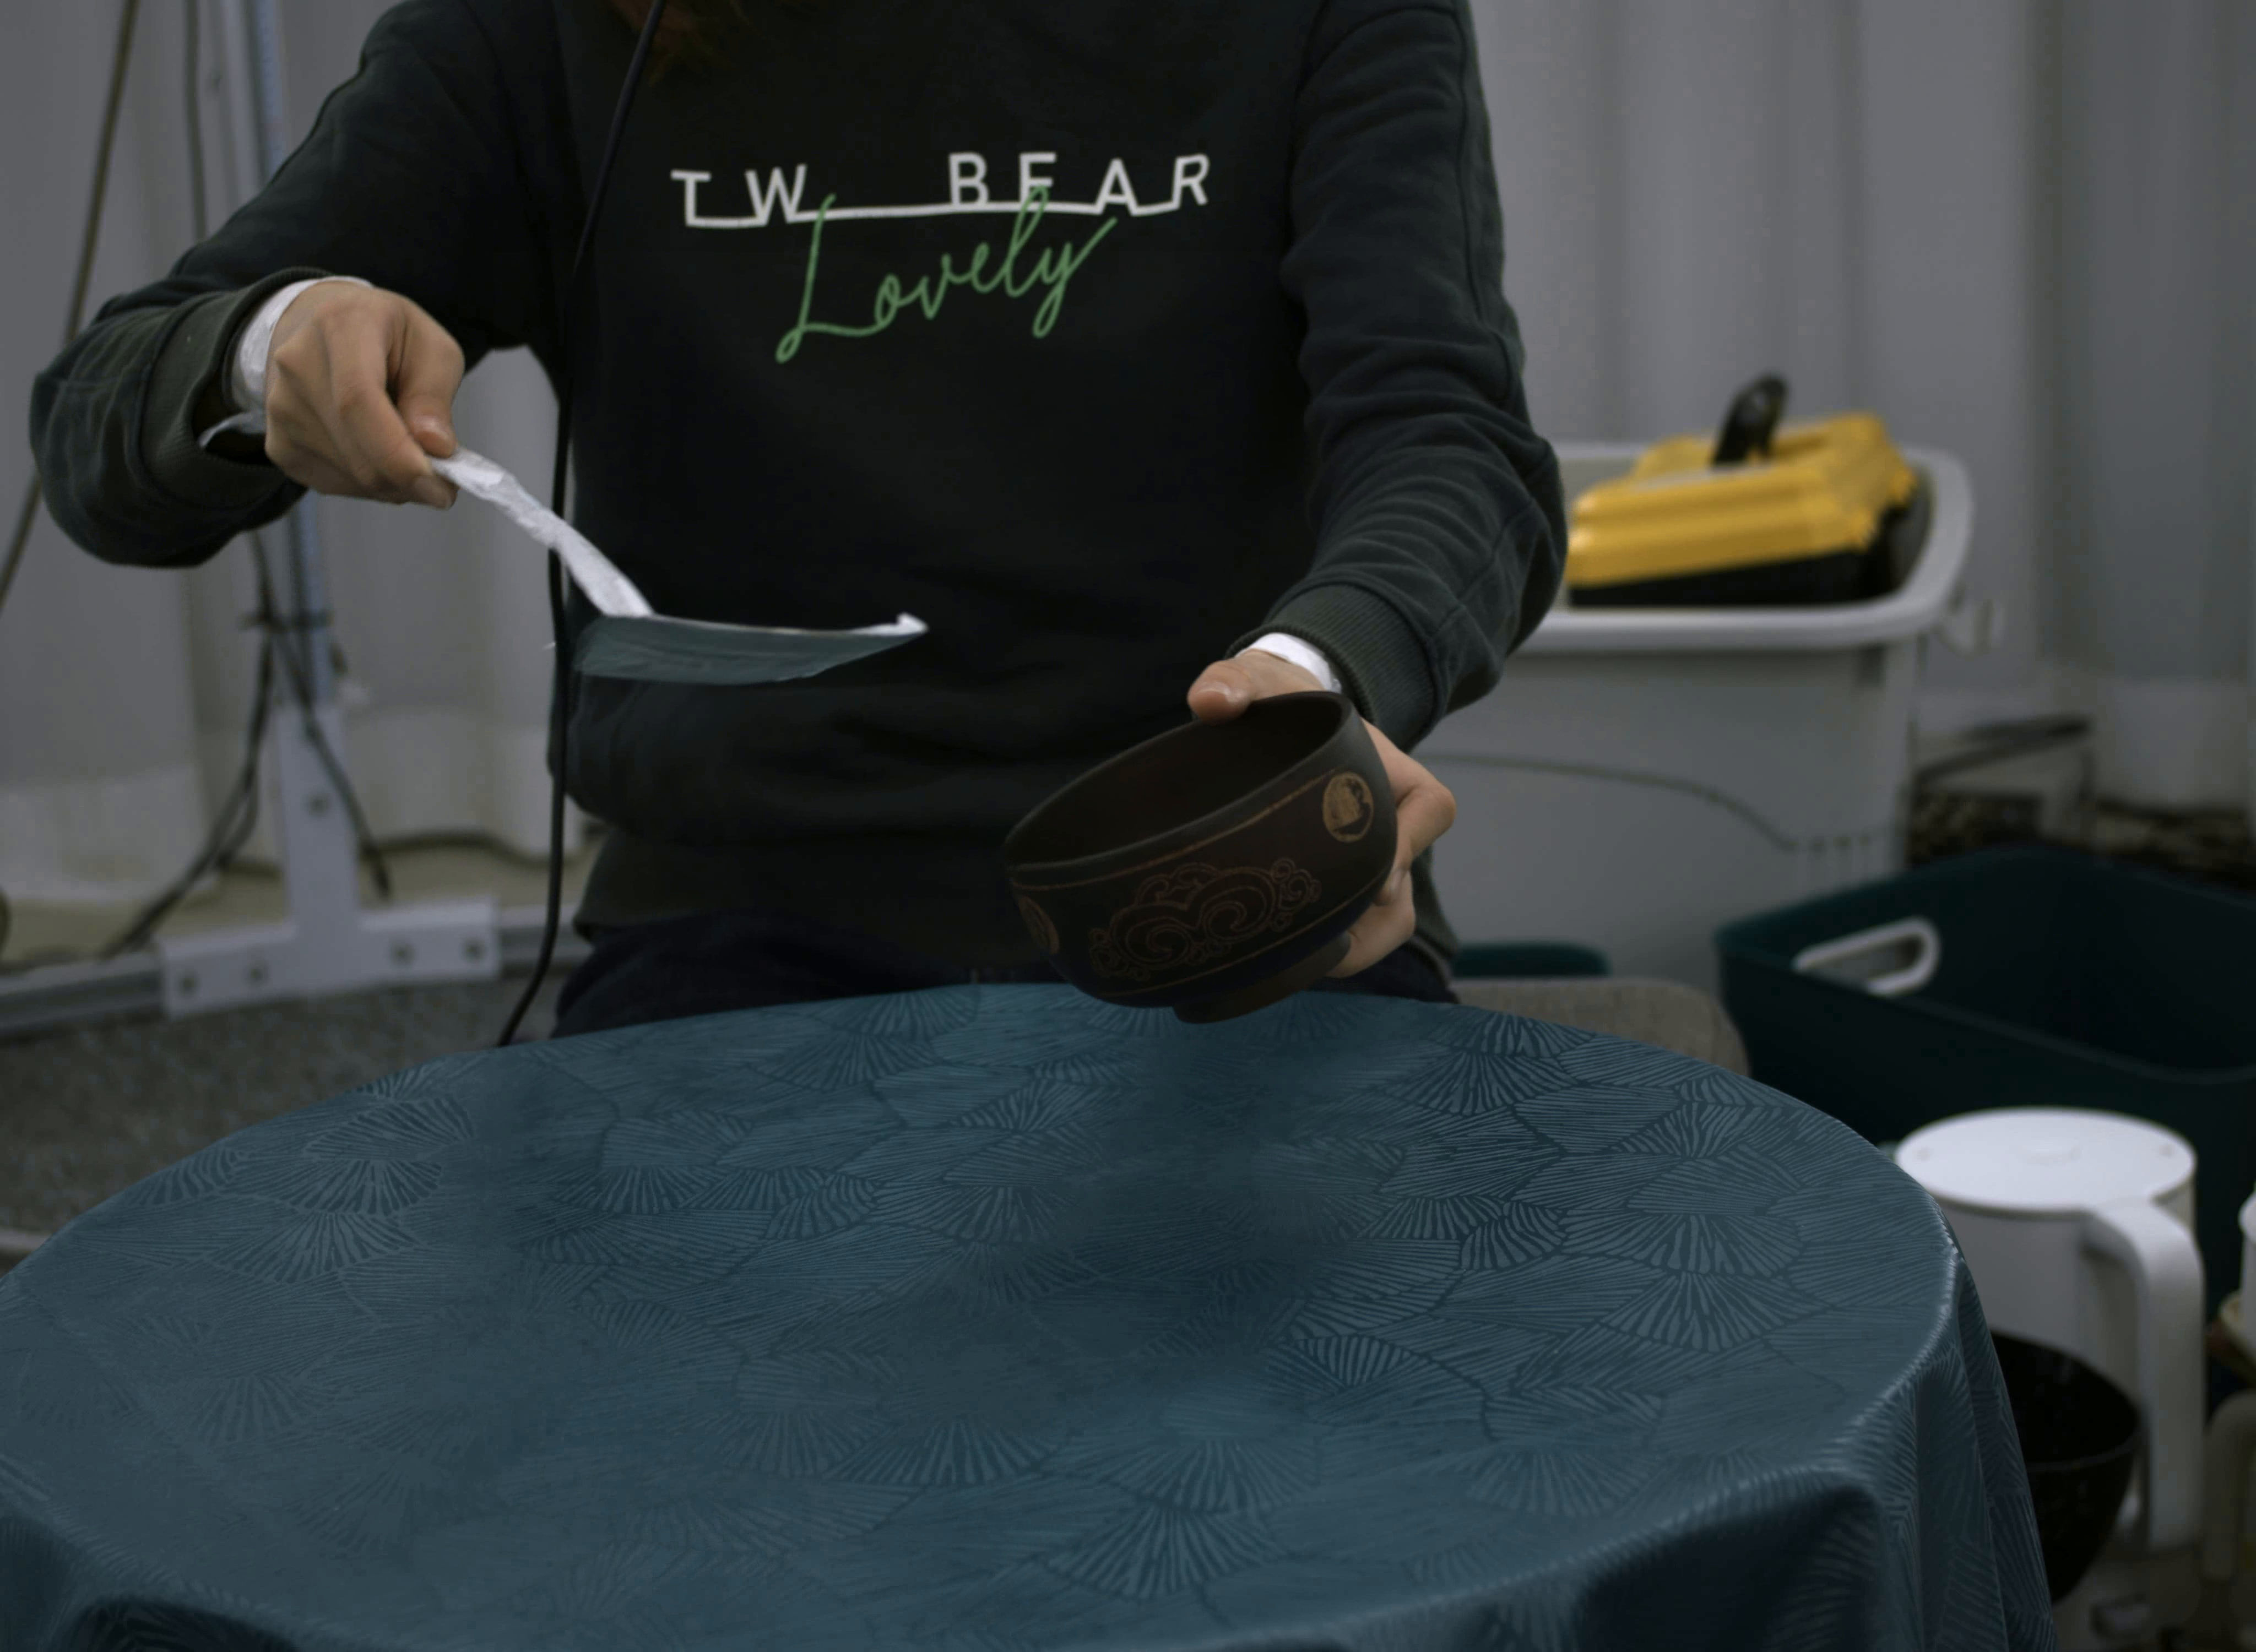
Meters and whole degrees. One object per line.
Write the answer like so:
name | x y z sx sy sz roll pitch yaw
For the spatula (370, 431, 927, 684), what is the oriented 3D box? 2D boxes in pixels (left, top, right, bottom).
spatula | -0.171 -0.092 1.666 0.098 0.044 0.368 0 18 -26

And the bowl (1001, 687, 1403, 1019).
bowl | 0.028 0.014 1.625 0.118 0.069 0.119 -21 14 5
